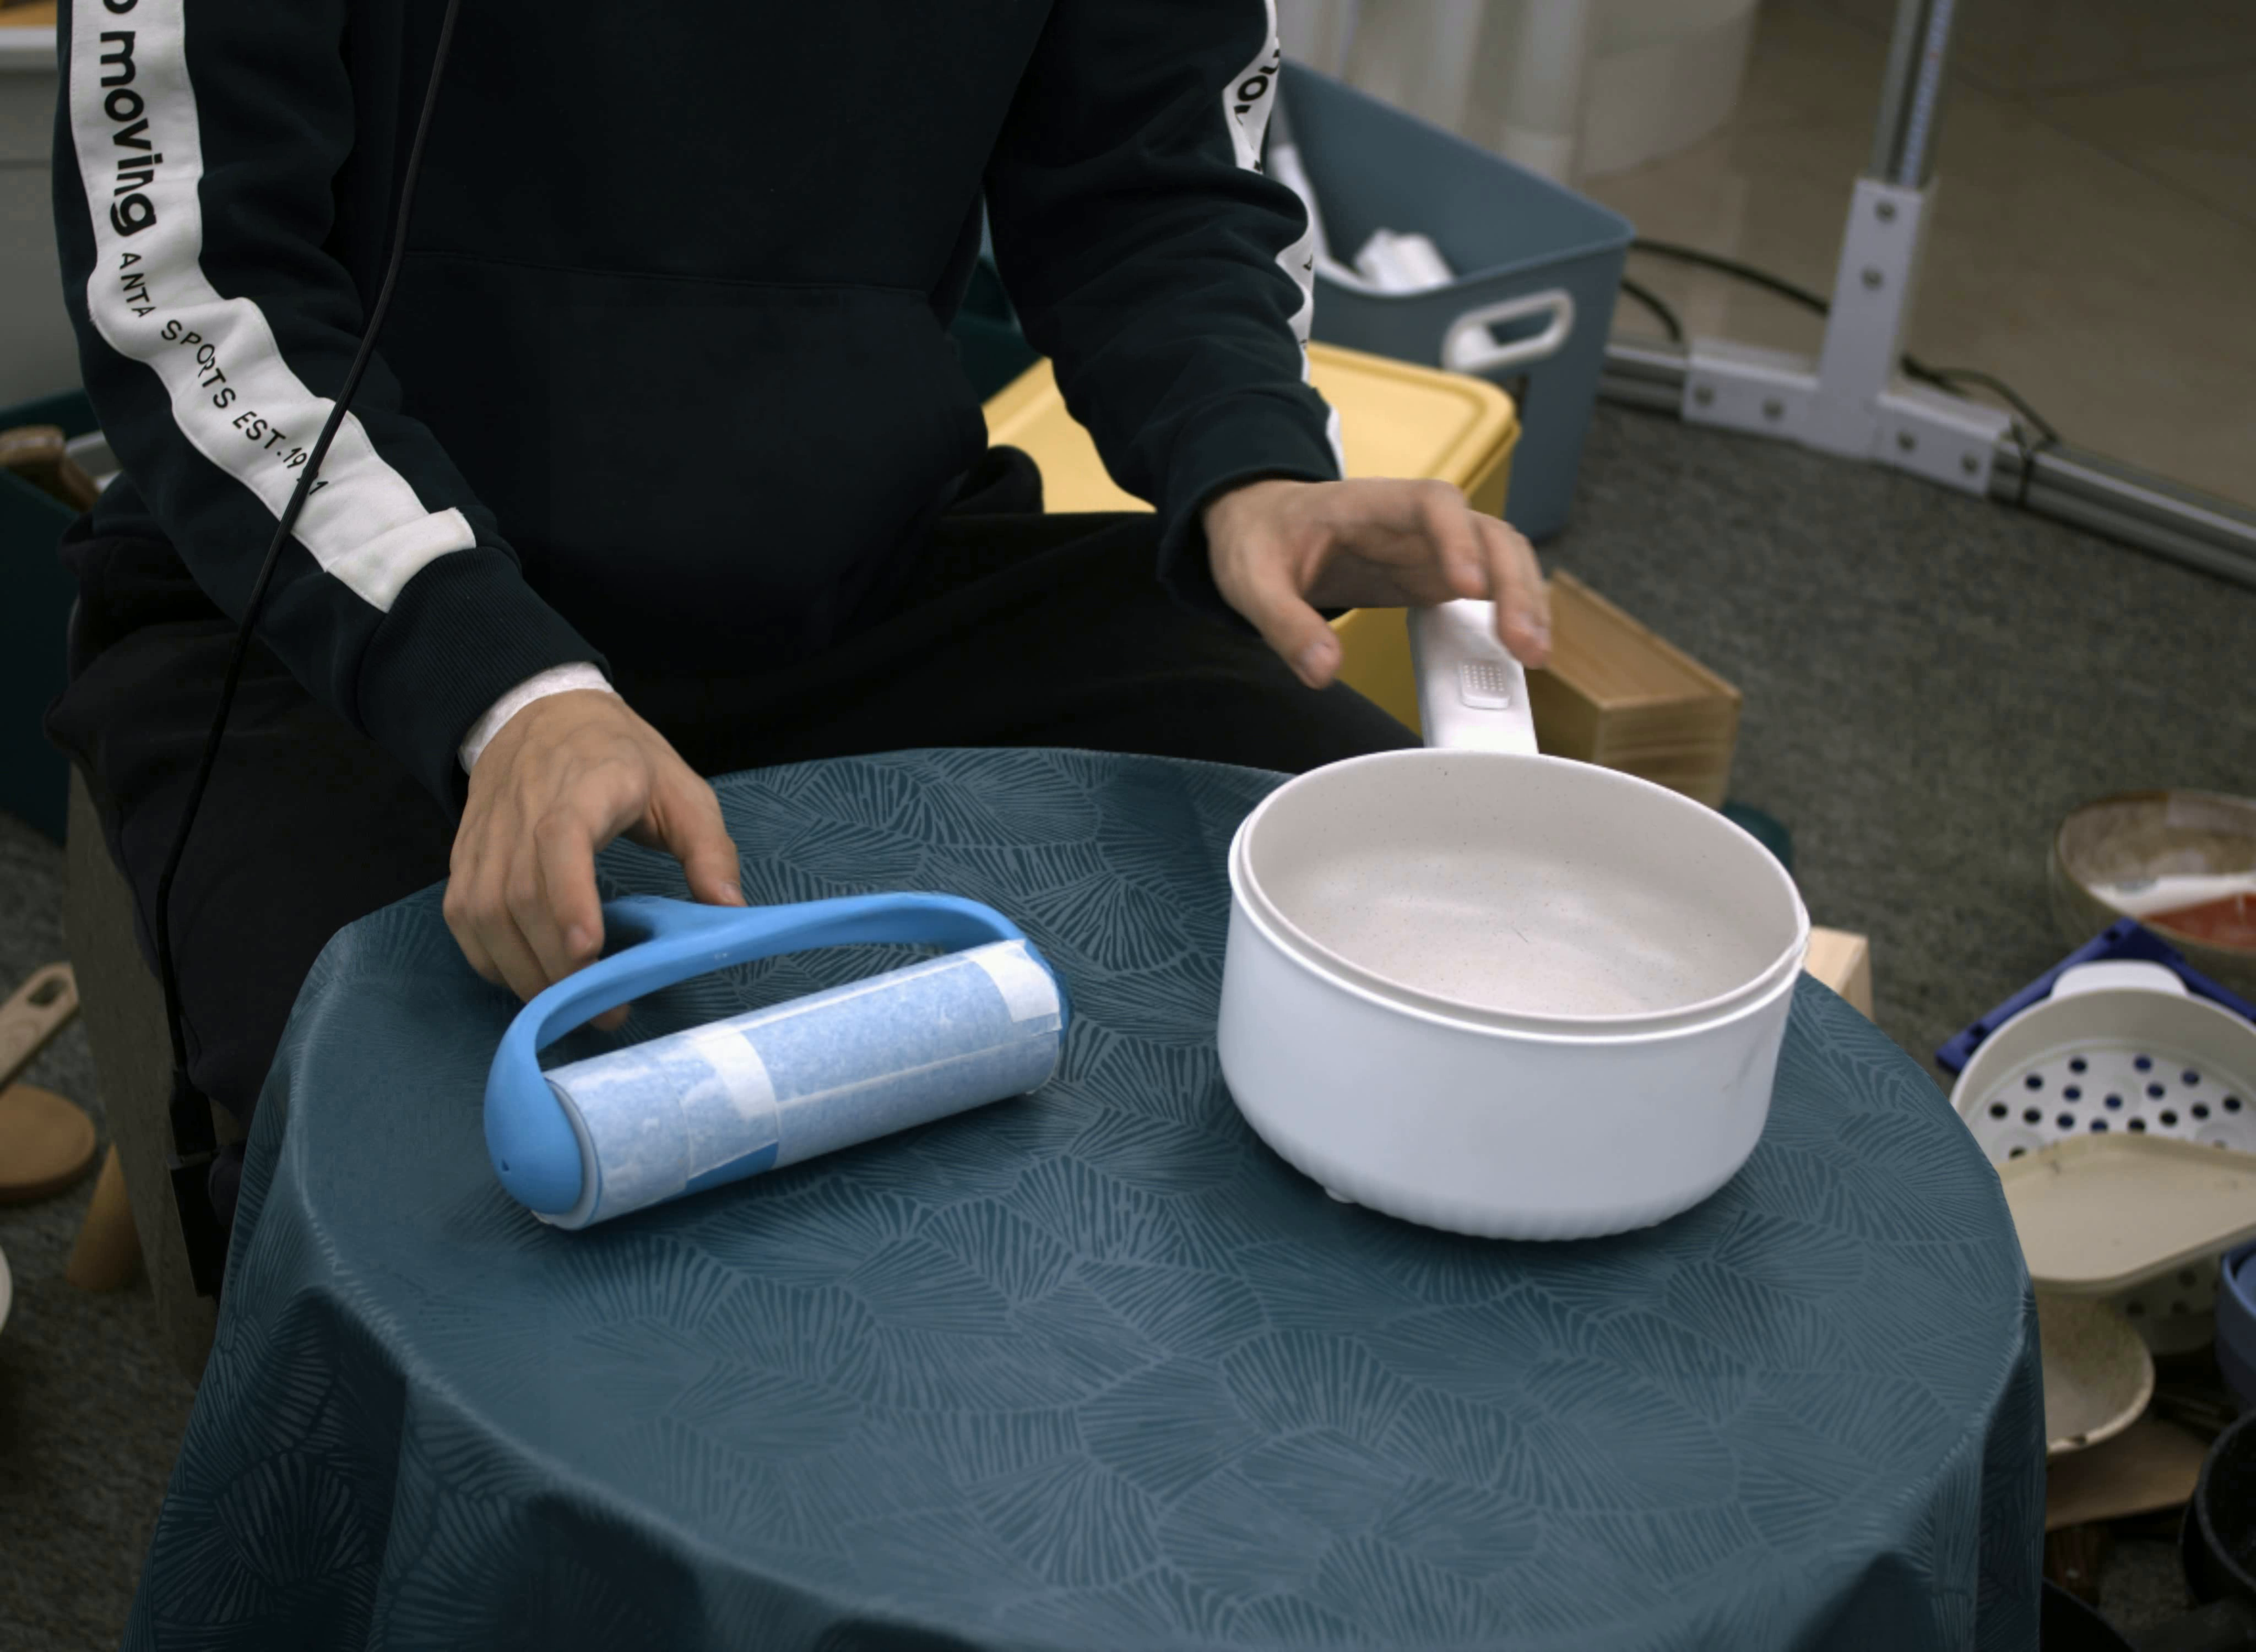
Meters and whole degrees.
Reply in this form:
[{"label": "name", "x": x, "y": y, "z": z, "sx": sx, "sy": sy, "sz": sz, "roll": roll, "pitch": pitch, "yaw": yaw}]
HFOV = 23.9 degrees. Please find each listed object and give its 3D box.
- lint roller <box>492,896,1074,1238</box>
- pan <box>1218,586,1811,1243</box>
[{"label": "lint roller", "x": -0.150, "y": 0.061, "z": 1.824, "sx": 0.228, "sy": 0.067, "sz": 0.182, "roll": -19, "pitch": 37, "yaw": -38}, {"label": "pan", "x": 0.128, "y": 0.029, "z": 1.907, "sx": 0.200, "sy": 0.102, "sz": 0.357, "roll": 4, "pitch": 26, "yaw": -3}]
